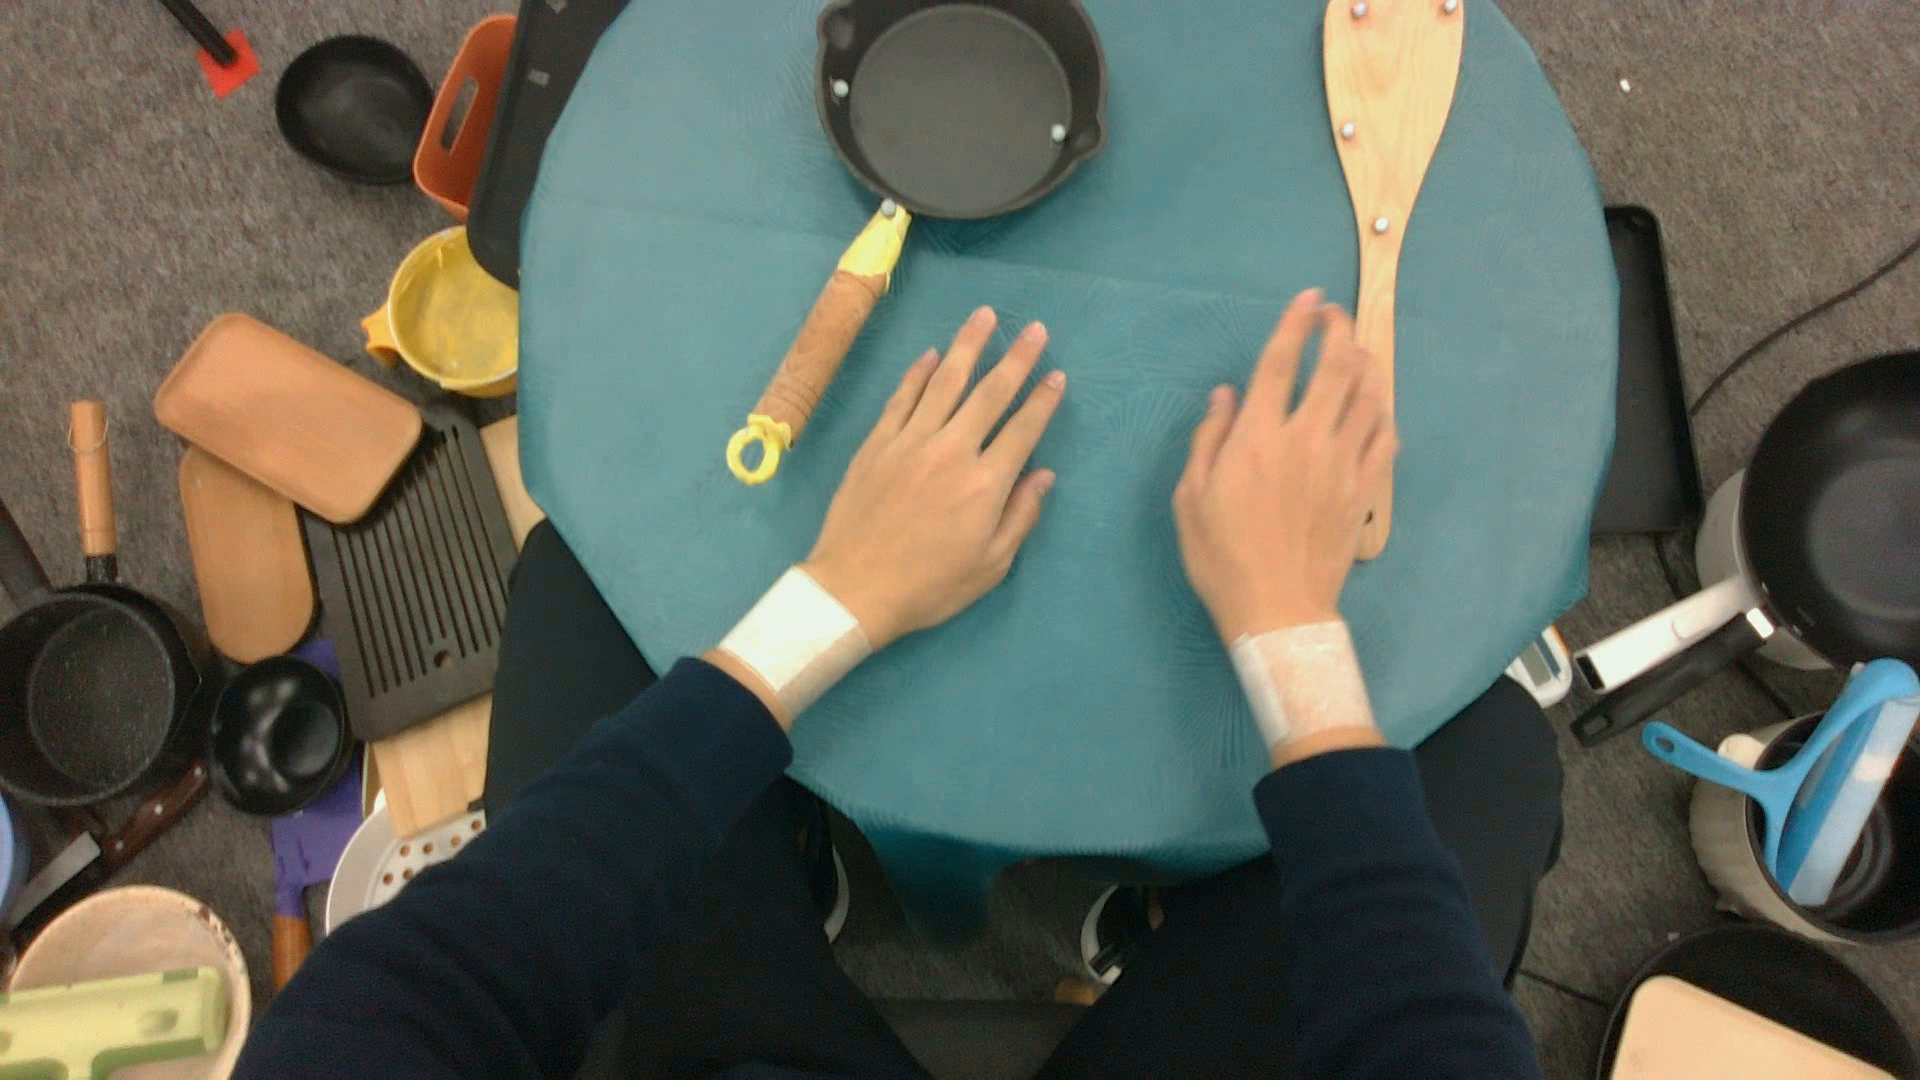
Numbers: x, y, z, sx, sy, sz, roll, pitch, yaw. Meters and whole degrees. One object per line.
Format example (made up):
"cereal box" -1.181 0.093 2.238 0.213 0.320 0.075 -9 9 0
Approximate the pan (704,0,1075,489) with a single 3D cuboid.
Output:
"pan" -0.053 -0.168 0.735 0.169 0.049 0.325 25 76 4

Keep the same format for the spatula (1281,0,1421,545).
"spatula" 0.212 -0.158 0.755 0.080 0.016 0.328 4 77 1
